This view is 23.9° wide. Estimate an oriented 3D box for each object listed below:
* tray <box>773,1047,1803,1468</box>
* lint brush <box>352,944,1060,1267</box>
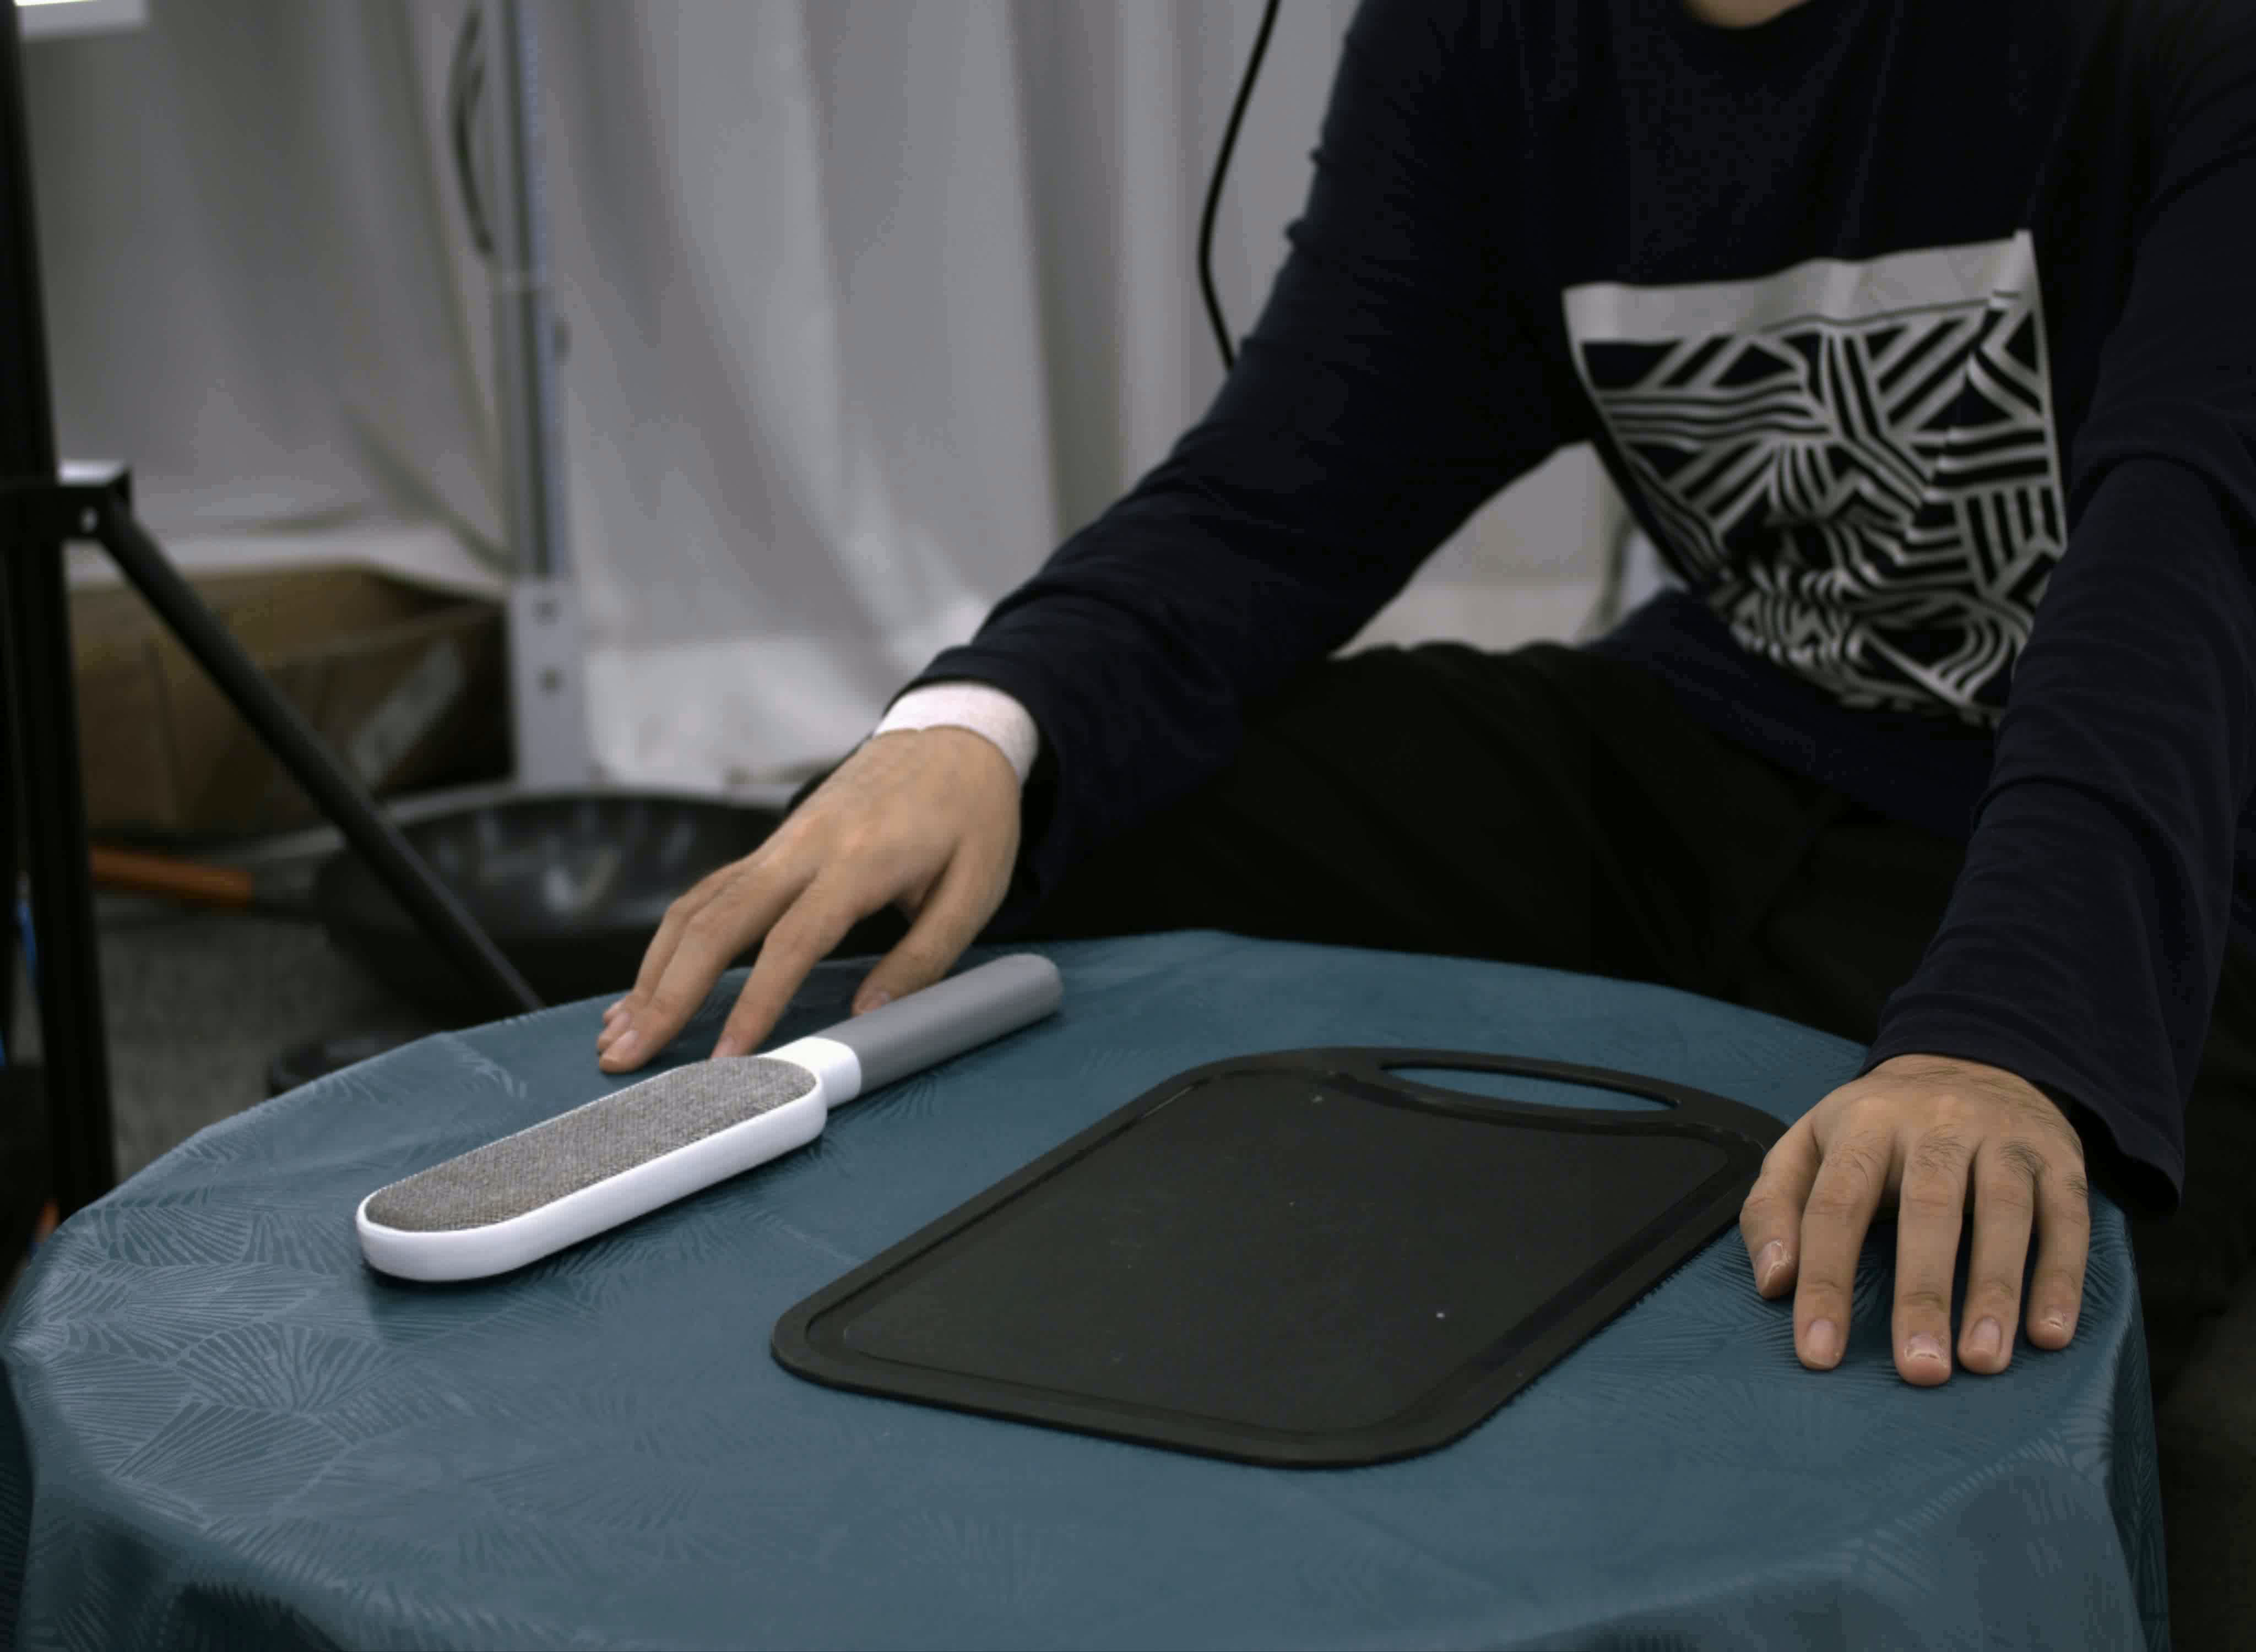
[{"bbox_3d":[0.055,0.114,1.521,0.215,0.010,0.319,7,18,30],"label":"tray"},{"bbox_3d":[-0.118,0.082,1.620,0.061,0.021,0.302,4,16,38],"label":"lint brush"}]
